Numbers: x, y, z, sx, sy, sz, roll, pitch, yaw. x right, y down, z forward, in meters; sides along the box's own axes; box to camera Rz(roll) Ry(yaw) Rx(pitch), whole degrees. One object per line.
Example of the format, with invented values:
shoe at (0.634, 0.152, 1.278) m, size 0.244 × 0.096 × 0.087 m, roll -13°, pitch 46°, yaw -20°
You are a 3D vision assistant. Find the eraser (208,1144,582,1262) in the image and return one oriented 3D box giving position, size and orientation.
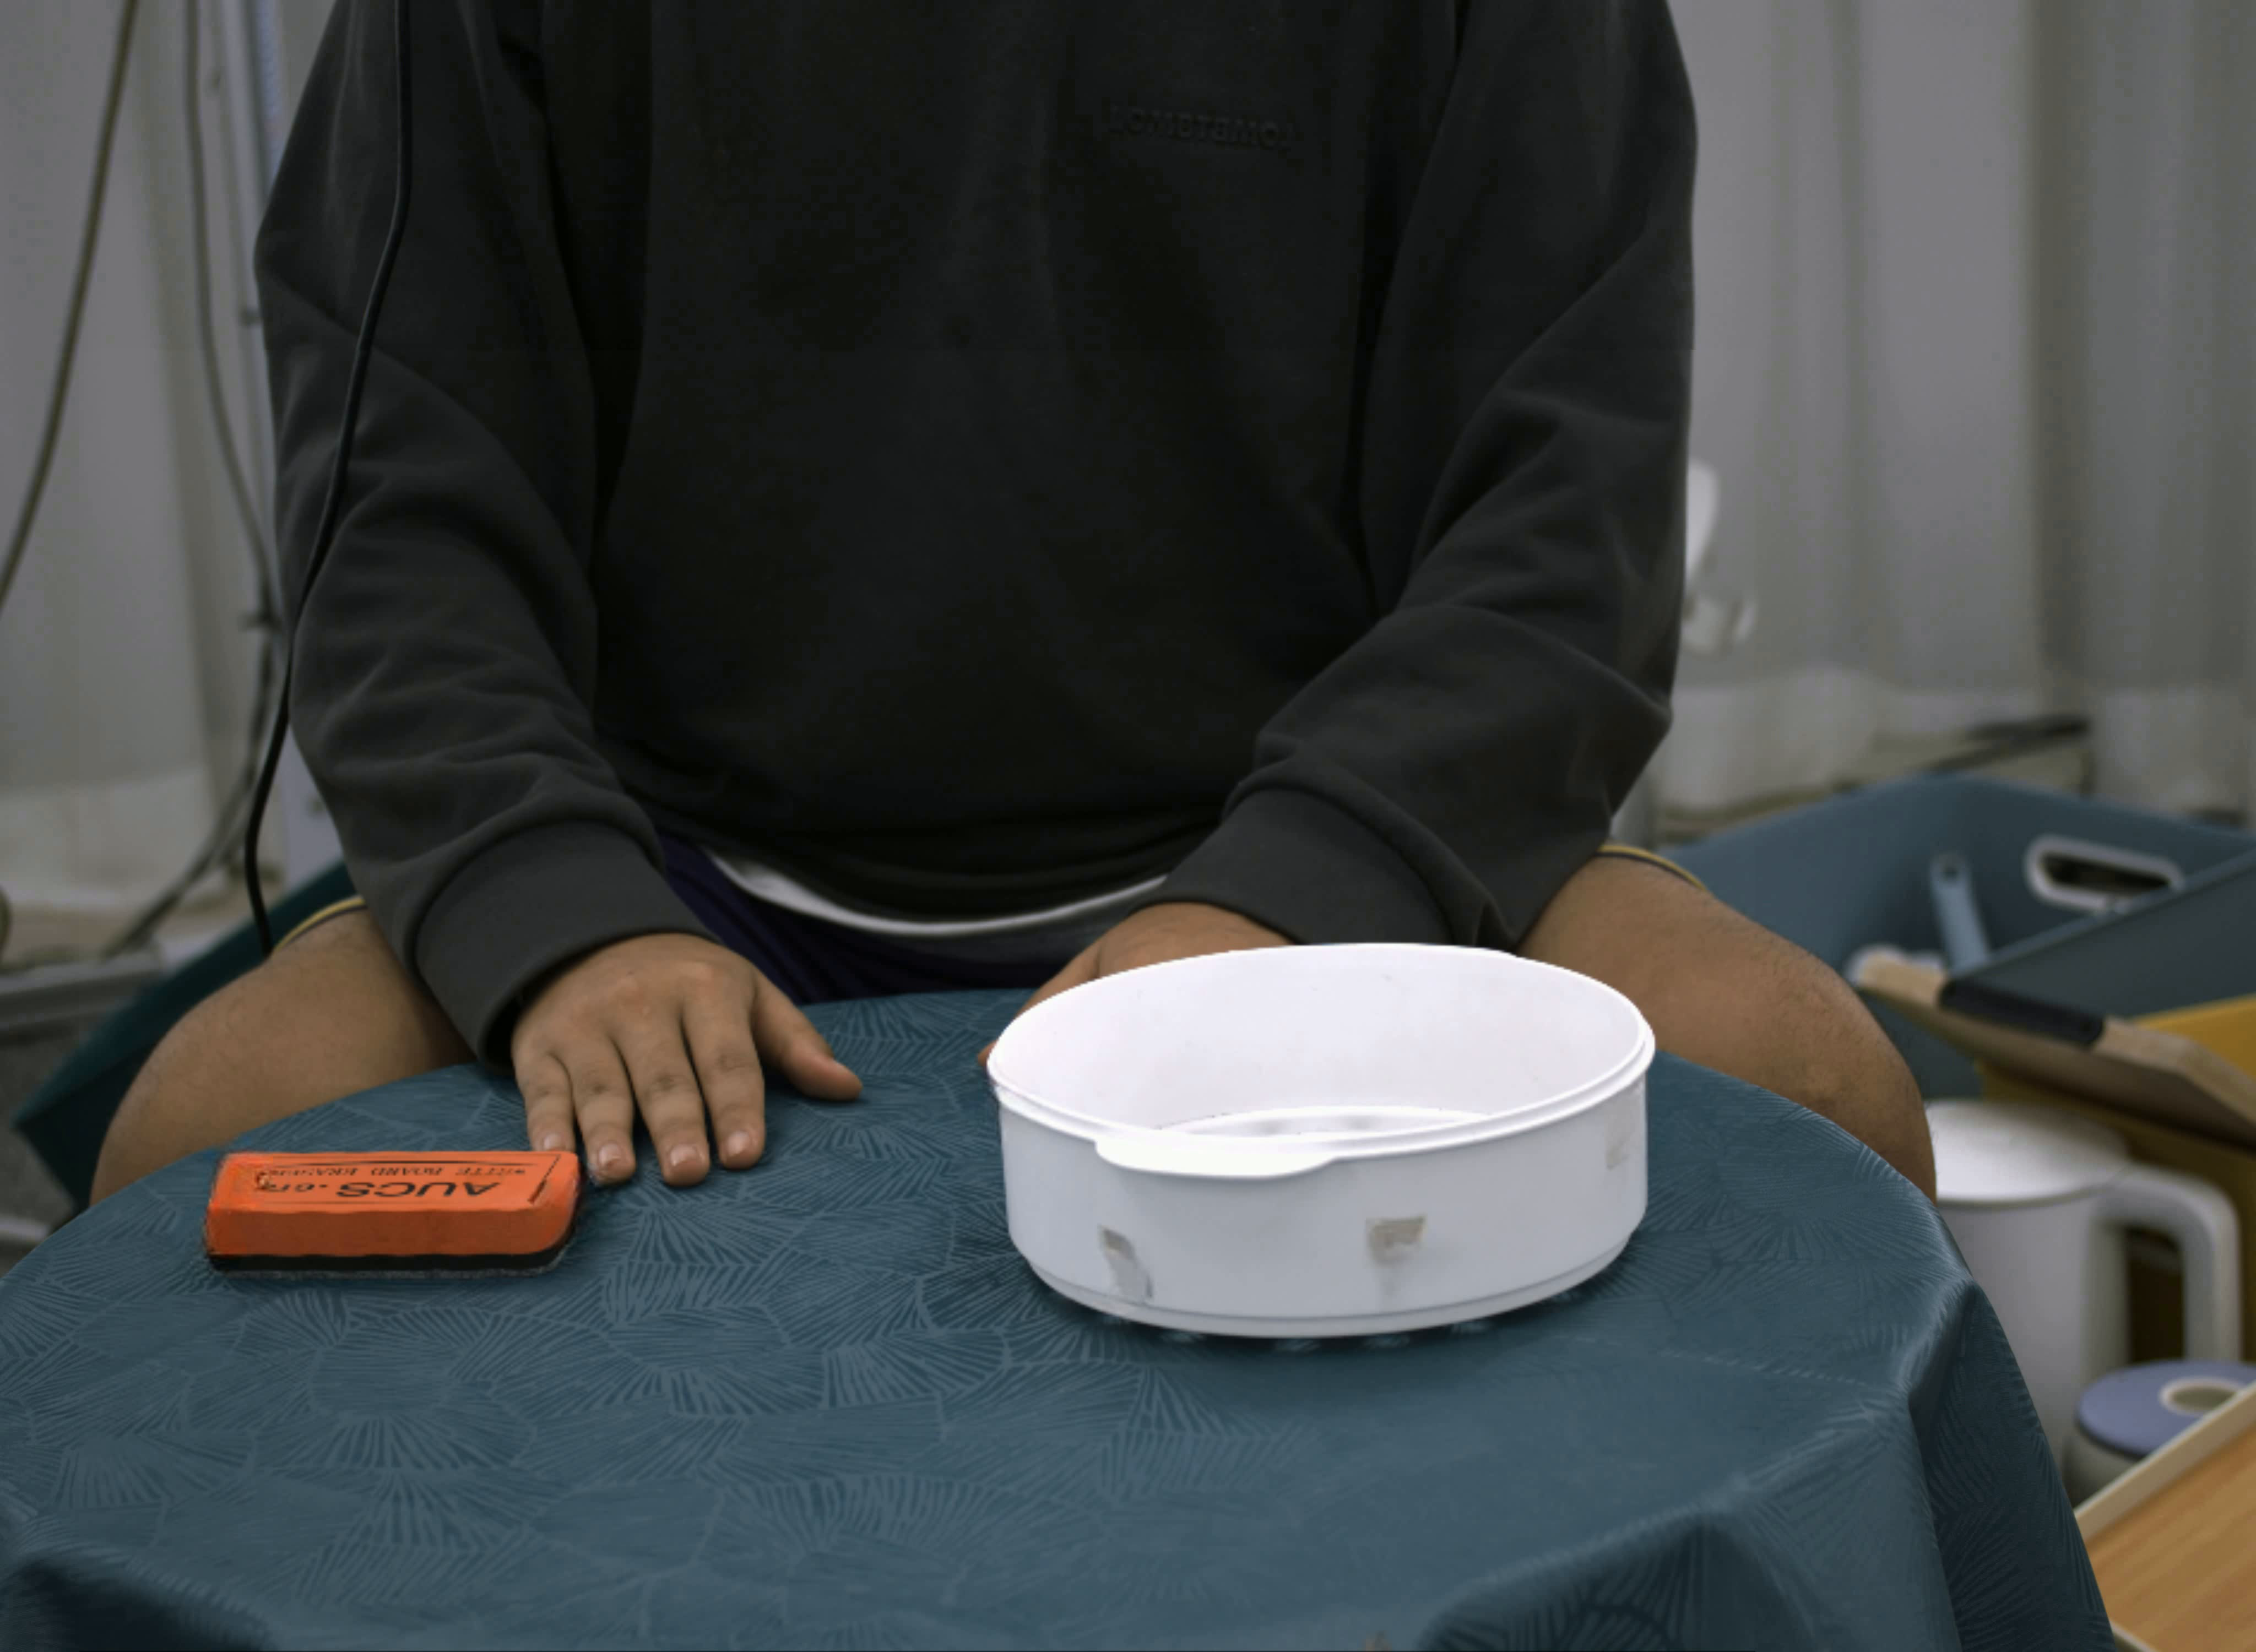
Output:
eraser at (-0.226, 0.117, 1.694) m, size 0.108 × 0.023 × 0.059 m, roll -2°, pitch 9°, yaw 8°

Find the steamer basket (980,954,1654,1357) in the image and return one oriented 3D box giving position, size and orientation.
steamer basket at (0.058, 0.099, 1.643) m, size 0.202 × 0.069 × 0.231 m, roll 2°, pitch 16°, yaw 20°
